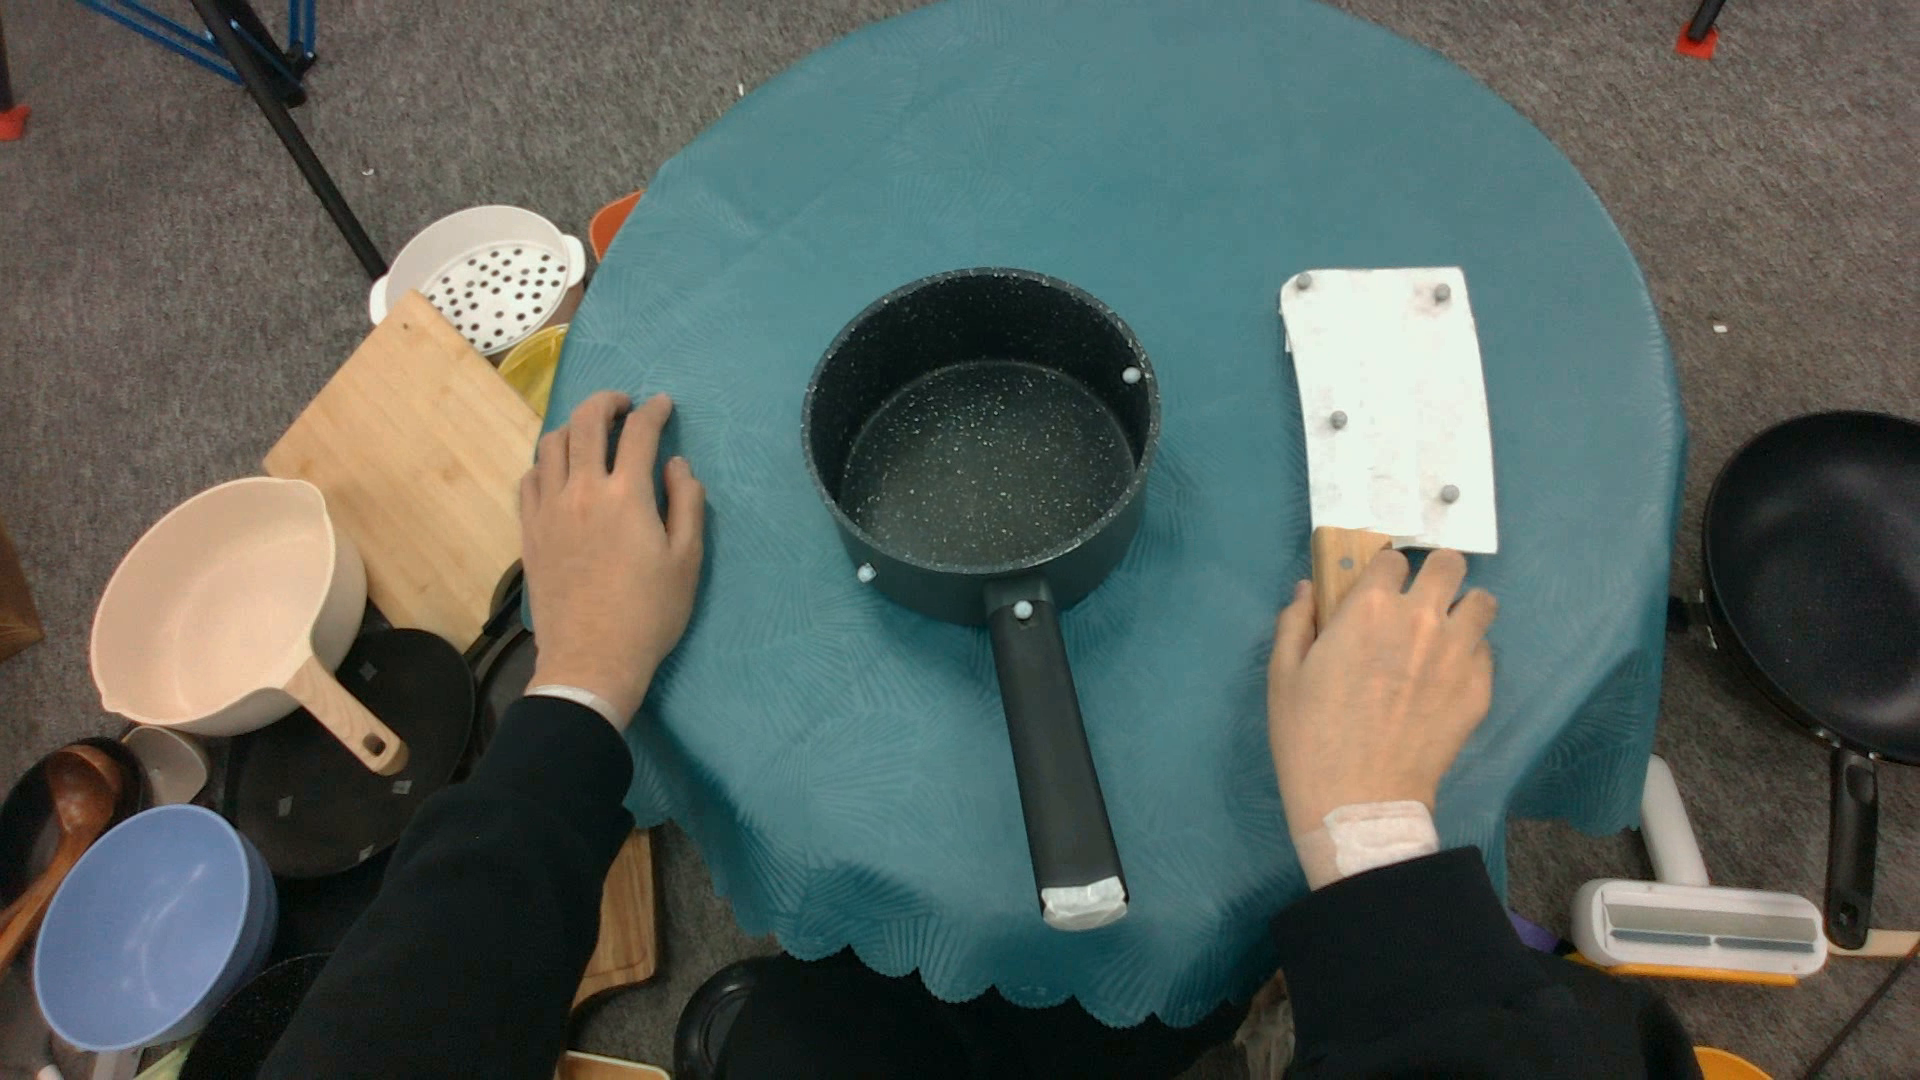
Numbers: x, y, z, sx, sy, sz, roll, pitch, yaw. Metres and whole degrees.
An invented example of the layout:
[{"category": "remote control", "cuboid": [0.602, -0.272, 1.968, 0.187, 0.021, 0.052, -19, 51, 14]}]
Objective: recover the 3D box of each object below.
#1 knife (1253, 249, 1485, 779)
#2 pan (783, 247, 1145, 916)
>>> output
[{"category": "knife", "cuboid": [0.199, -0.031, 0.677, 0.114, 0.021, 0.317, 6, 57, 6]}, {"category": "pan", "cuboid": [0.016, 0.015, 0.642, 0.172, 0.086, 0.330, -10, 62, 2]}]
